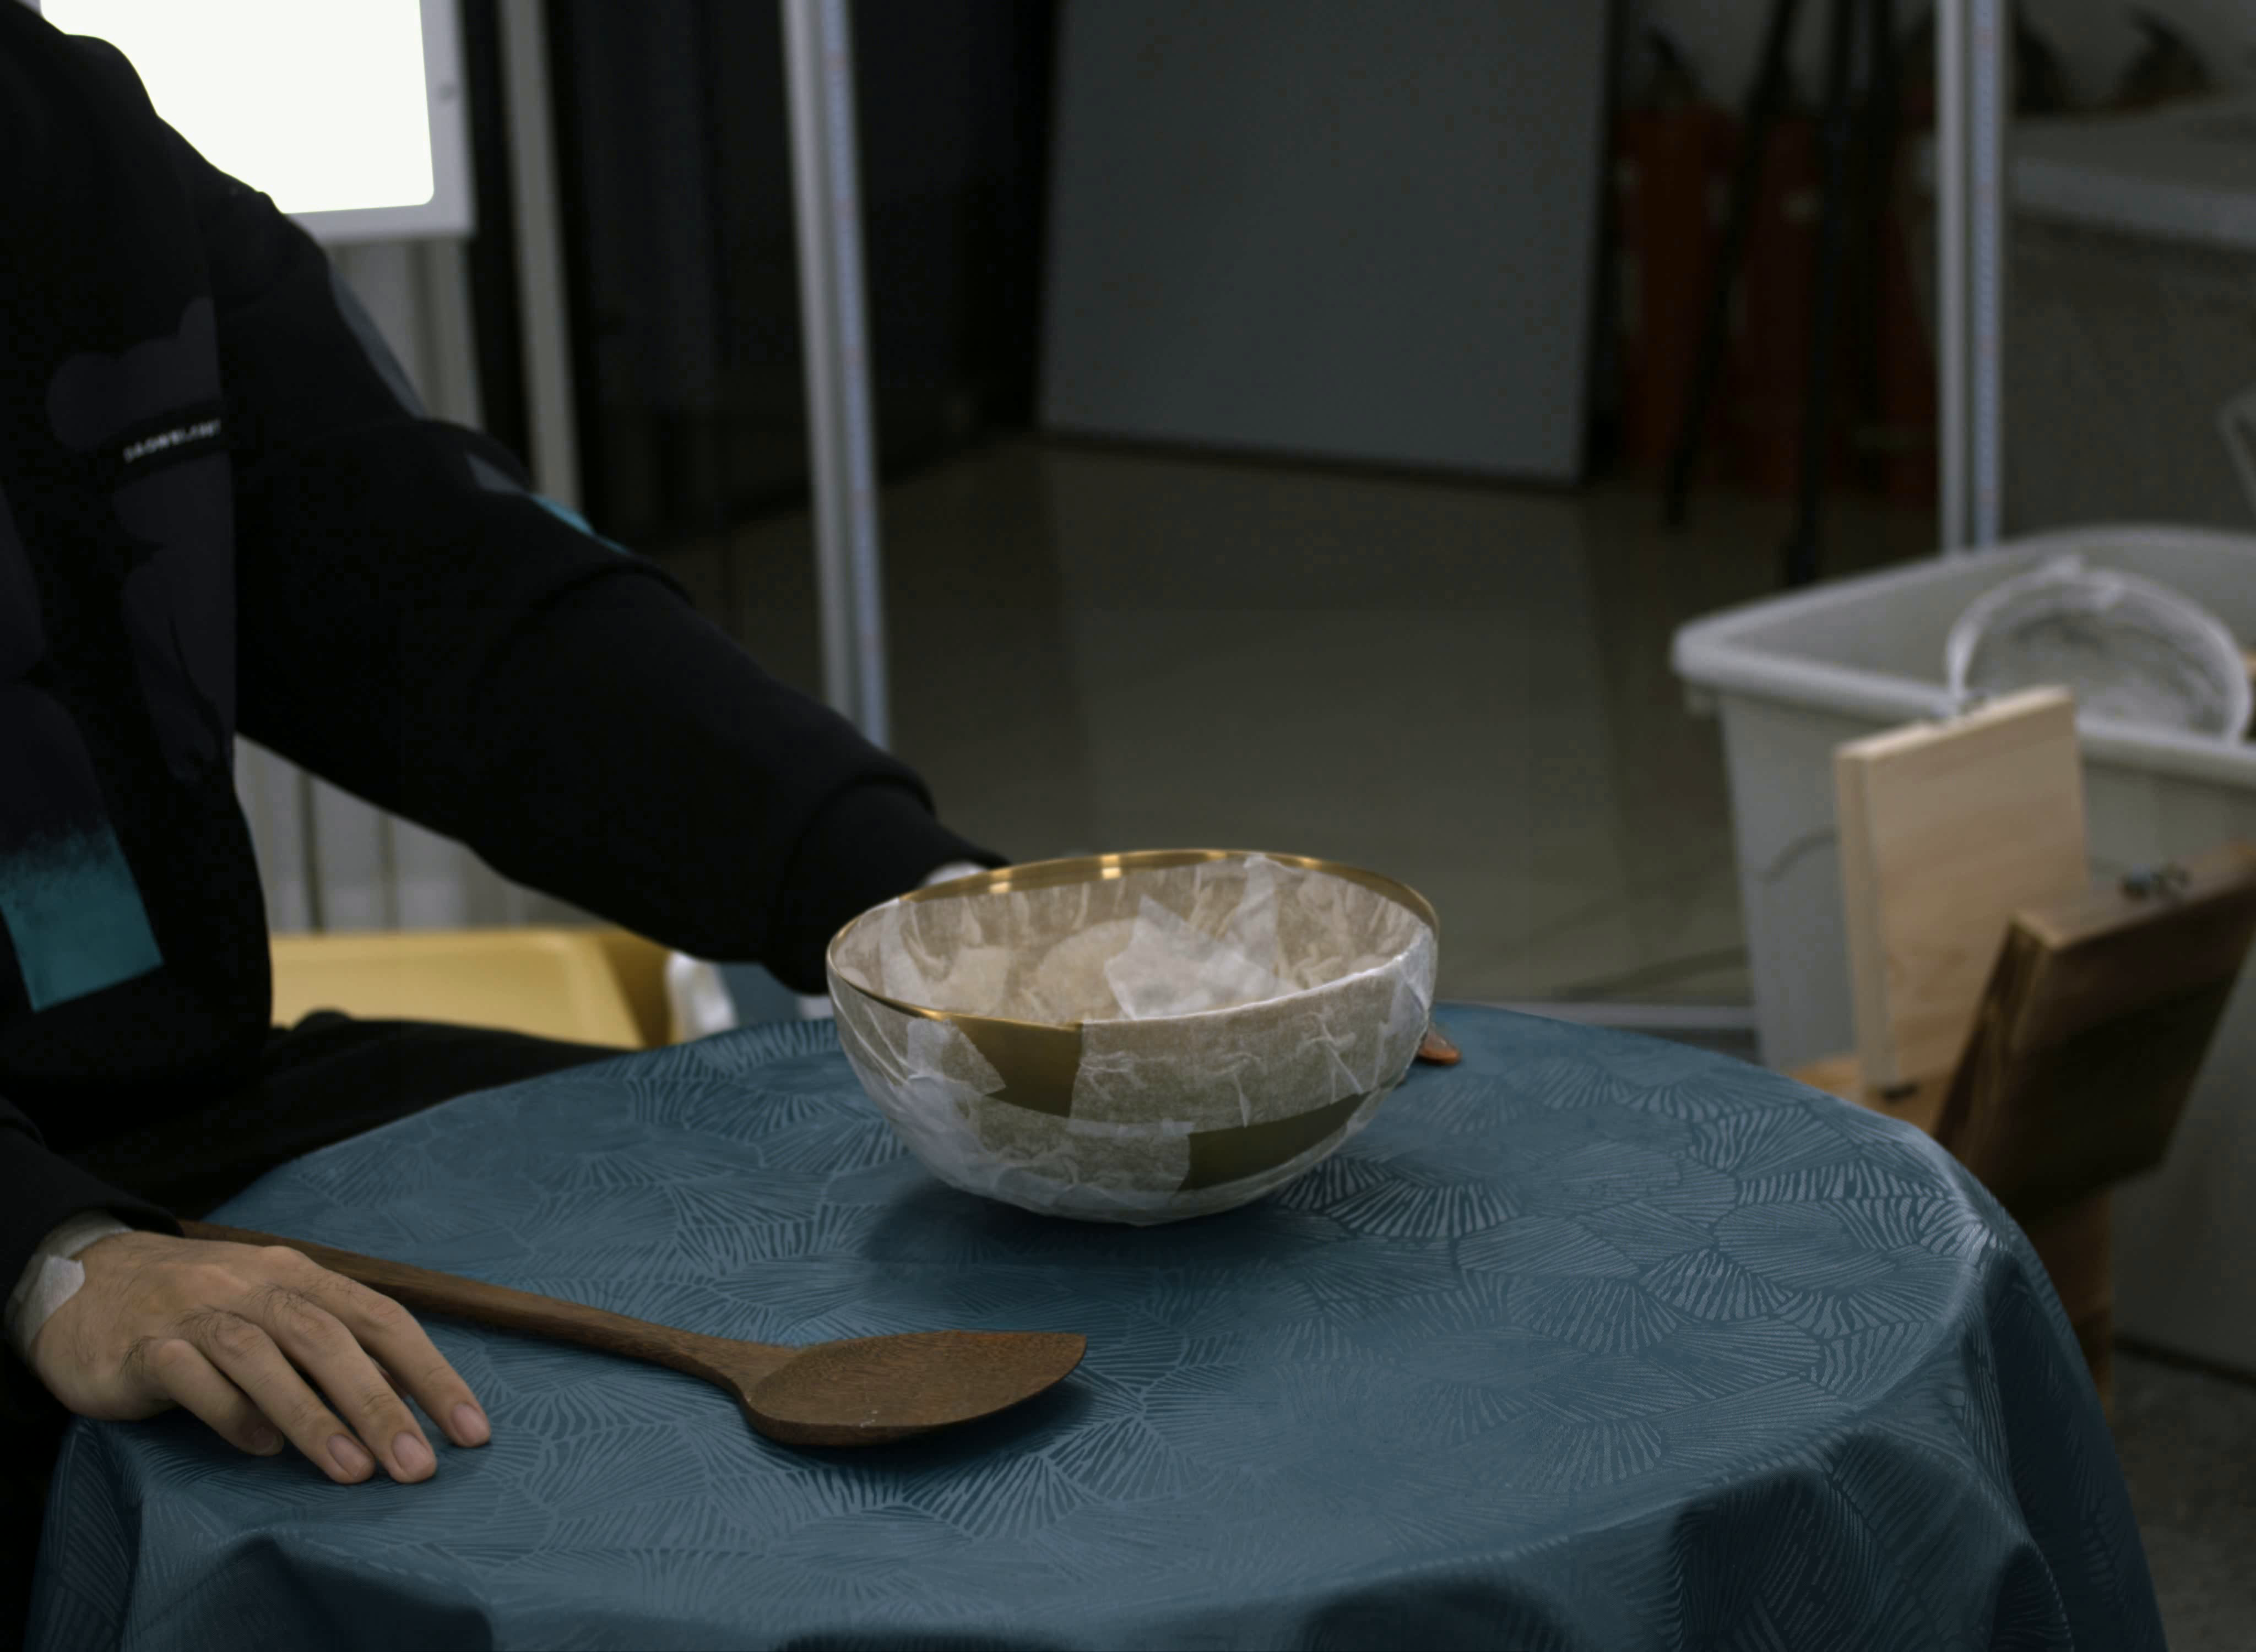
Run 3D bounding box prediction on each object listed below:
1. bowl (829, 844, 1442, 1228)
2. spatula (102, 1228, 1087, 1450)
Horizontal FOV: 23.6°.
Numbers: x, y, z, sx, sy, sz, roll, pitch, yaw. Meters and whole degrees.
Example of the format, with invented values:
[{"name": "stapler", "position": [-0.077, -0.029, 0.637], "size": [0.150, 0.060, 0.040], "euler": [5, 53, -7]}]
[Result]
[{"name": "bowl", "position": [0.004, 0.075, 1.760], "size": [0.212, 0.095, 0.215], "euler": [-6, 14, 1]}, {"name": "spatula", "position": [-0.181, 0.153, 1.668], "size": [0.388, 0.016, 0.094], "euler": [6, 17, 37]}]
